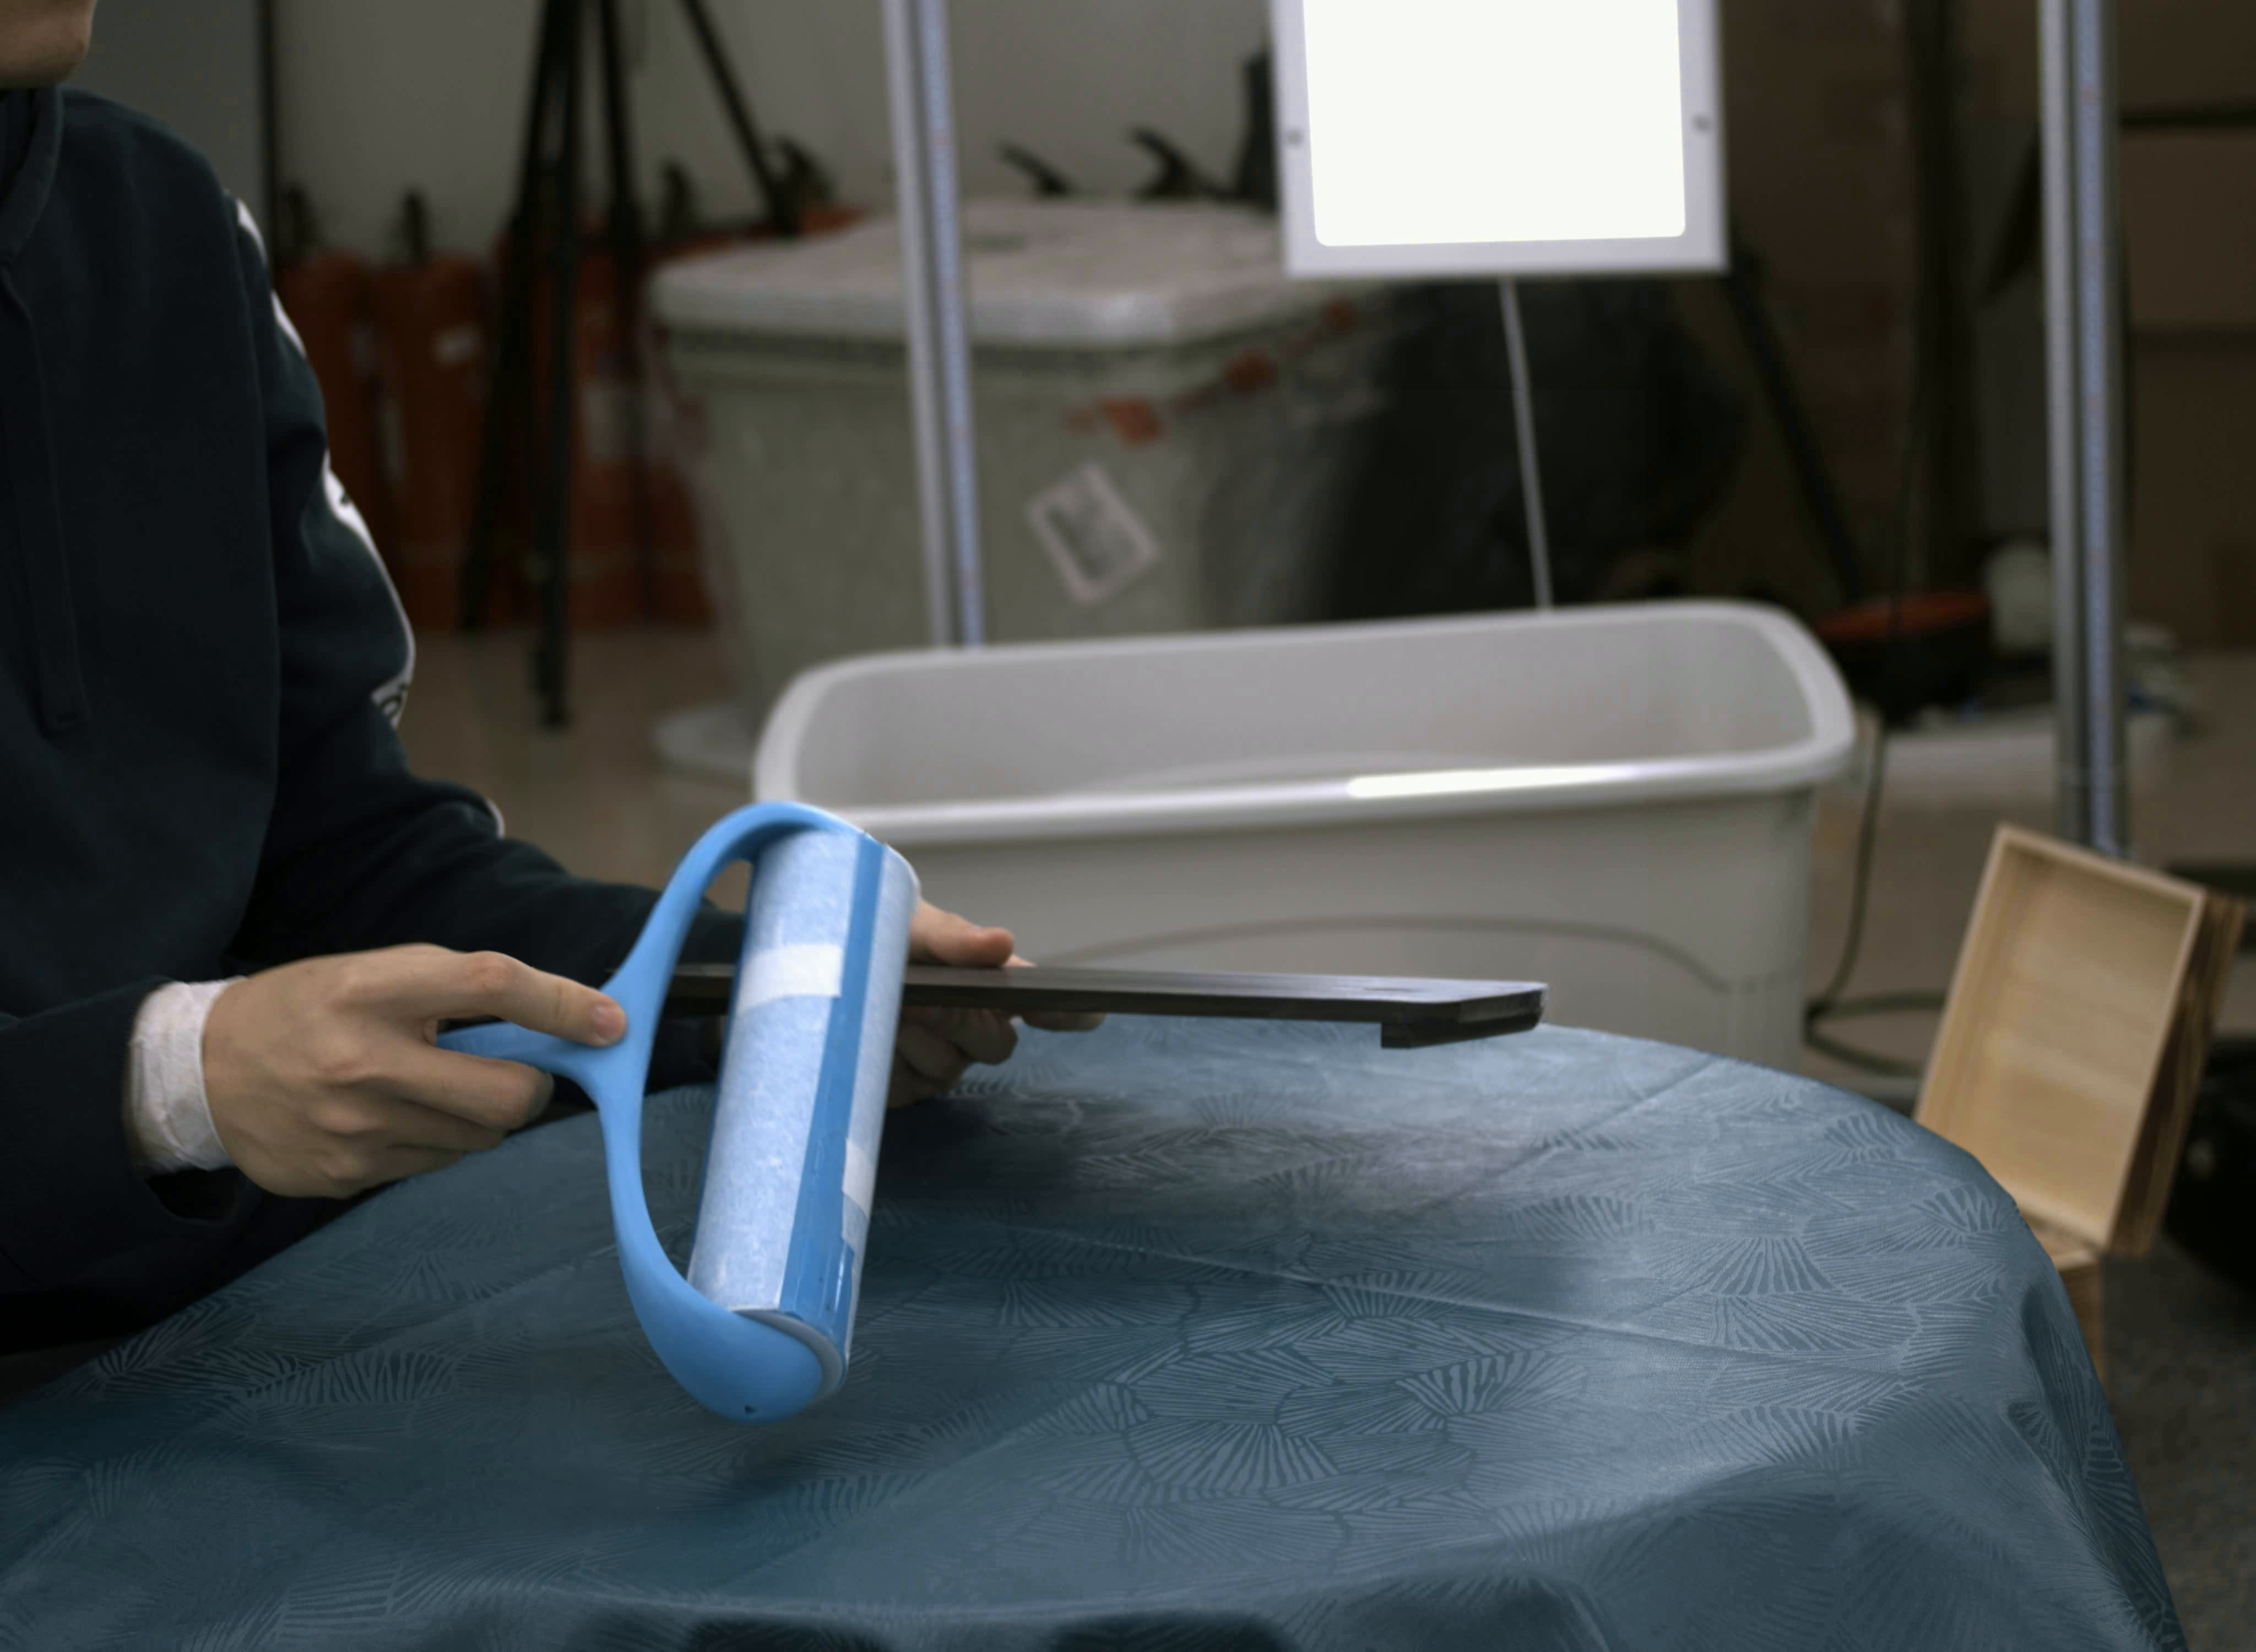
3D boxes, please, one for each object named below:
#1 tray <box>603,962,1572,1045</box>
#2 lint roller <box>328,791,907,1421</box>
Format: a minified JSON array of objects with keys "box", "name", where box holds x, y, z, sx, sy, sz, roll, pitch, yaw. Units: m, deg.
[{"box":[-0.012,0.060,1.896,0.310,0.018,0.167,1,0,21],"name":"tray"},{"box":[-0.163,0.084,1.720,0.180,0.068,0.228,1,51,2],"name":"lint roller"}]
